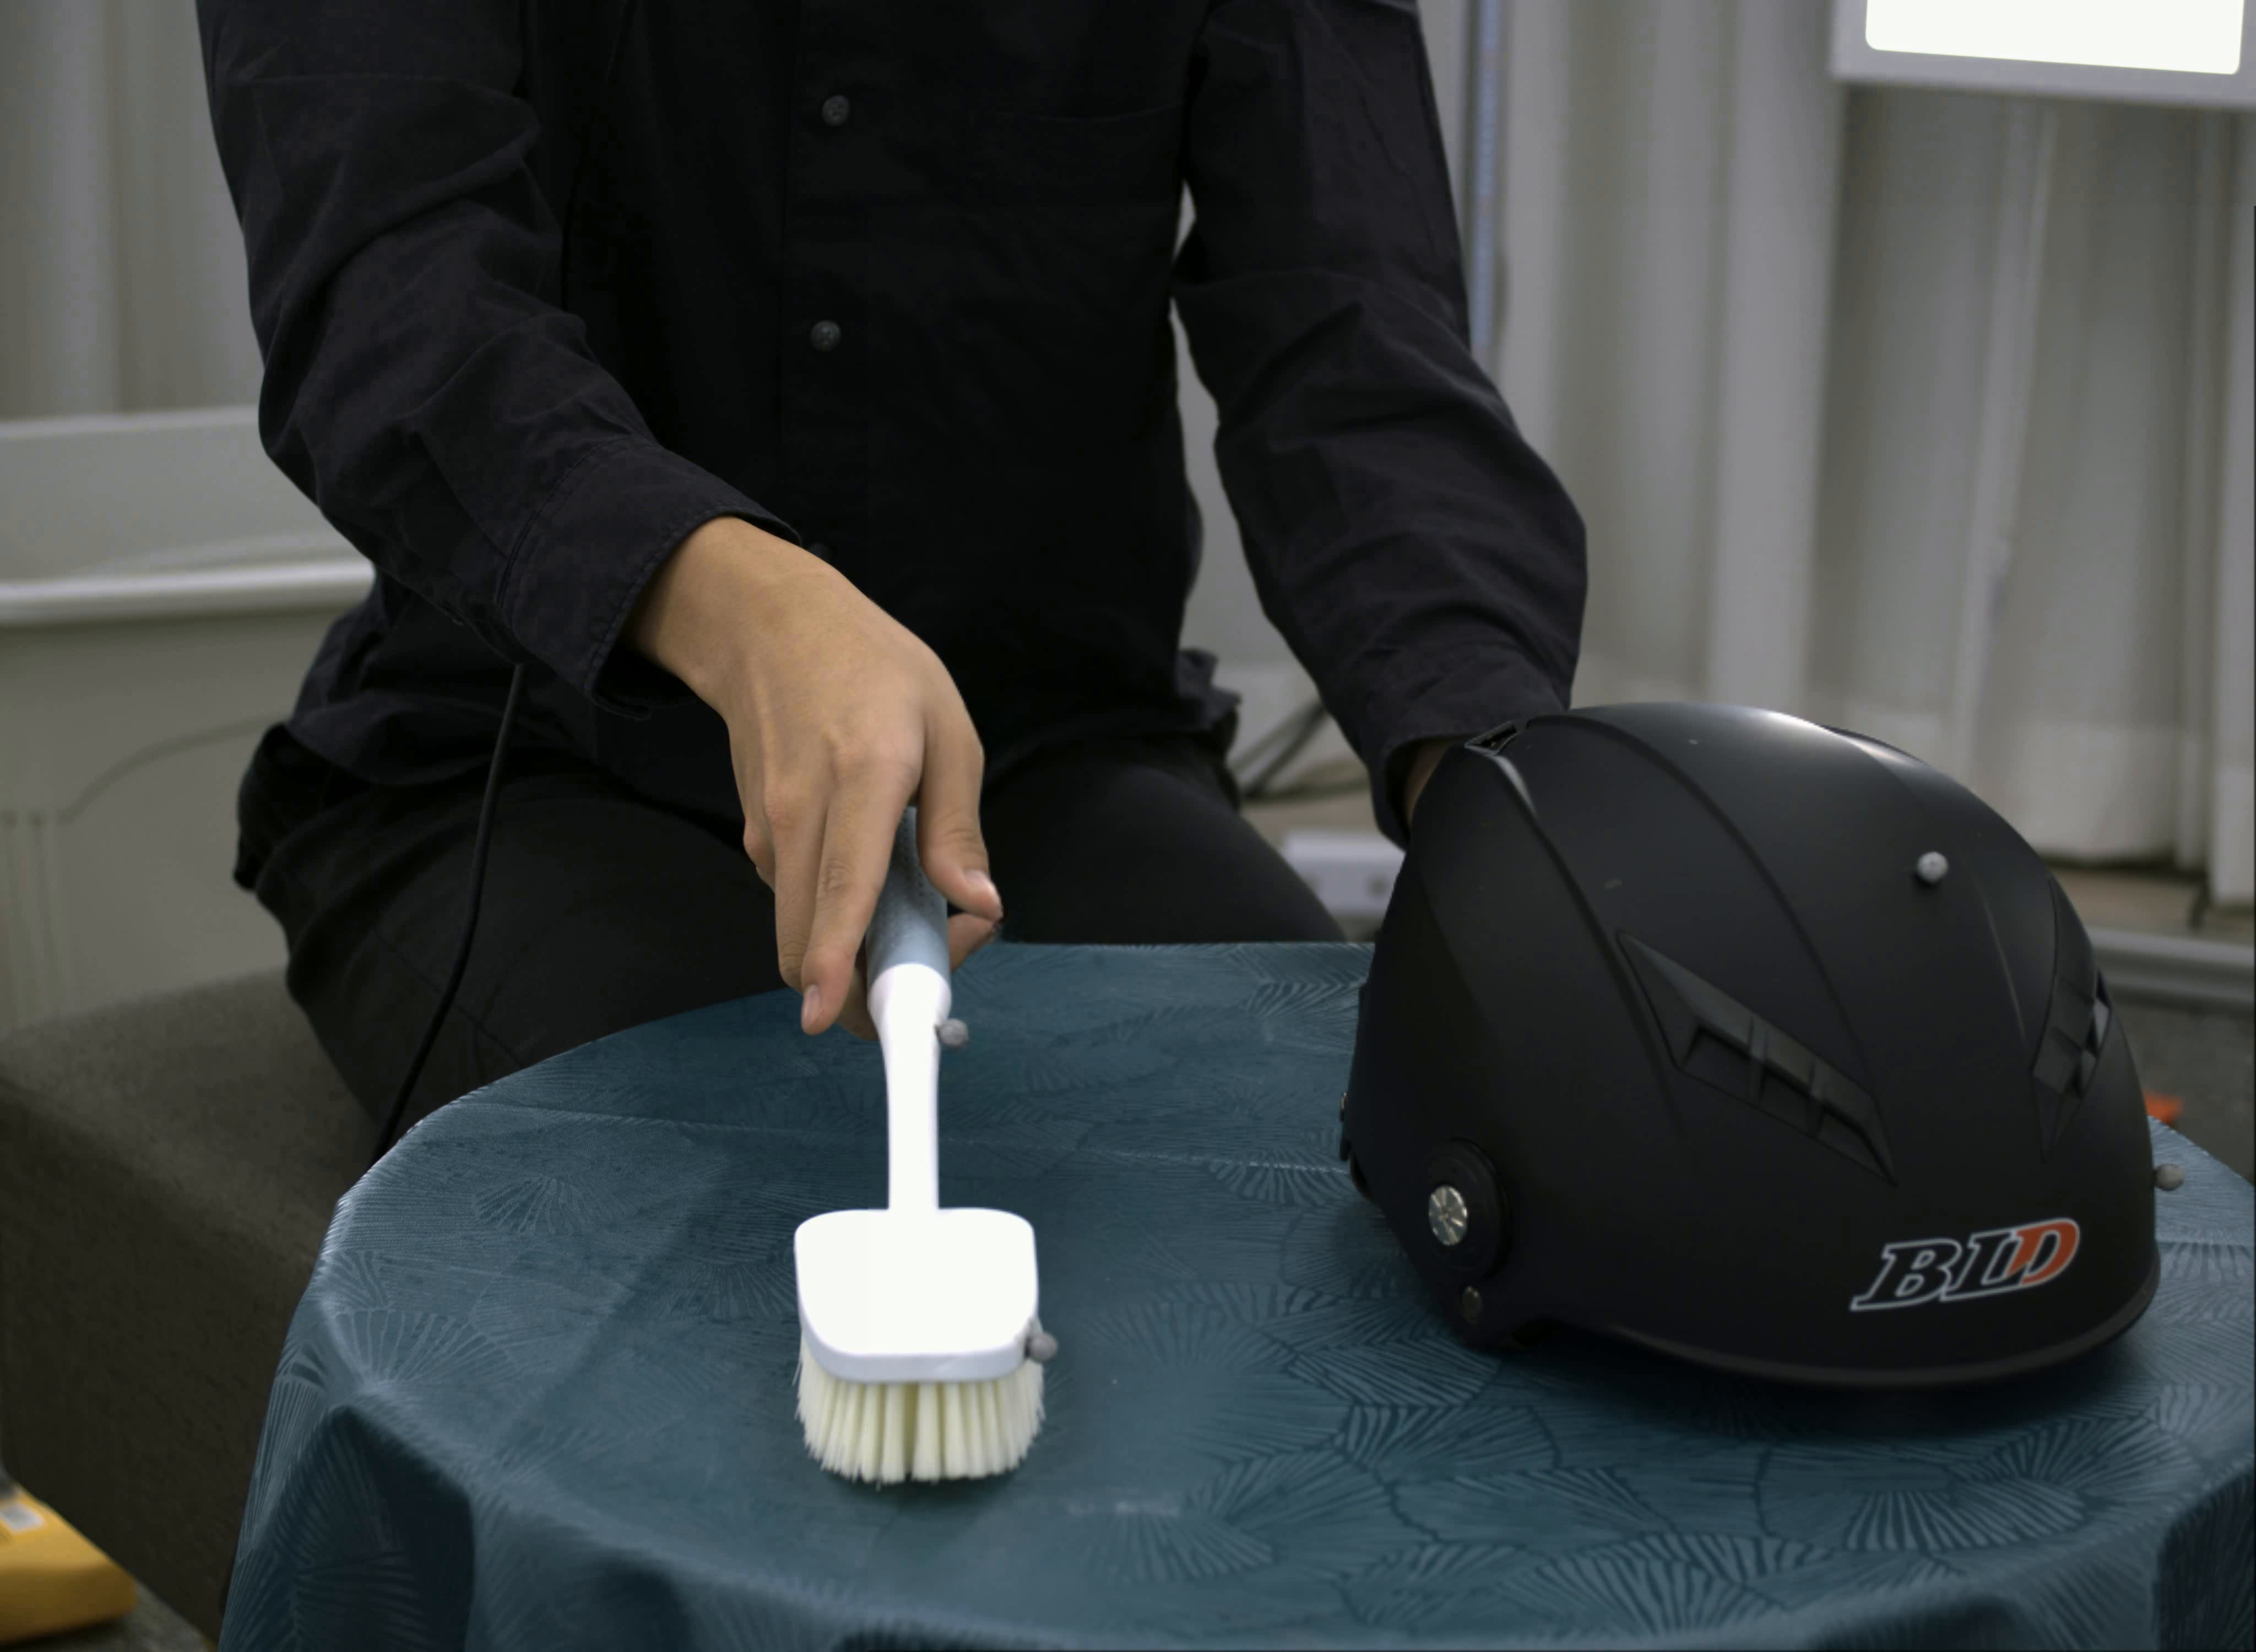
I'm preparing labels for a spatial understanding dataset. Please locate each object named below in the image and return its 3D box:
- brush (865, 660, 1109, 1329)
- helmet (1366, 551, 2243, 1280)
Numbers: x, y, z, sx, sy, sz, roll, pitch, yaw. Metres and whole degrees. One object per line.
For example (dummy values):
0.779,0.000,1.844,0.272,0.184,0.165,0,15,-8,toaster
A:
-0.040,0.061,1.562,0.084,0.084,0.322,33,22,-19,brush
0.201,0.017,1.575,0.247,0.174,0.273,-7,23,-22,helmet
